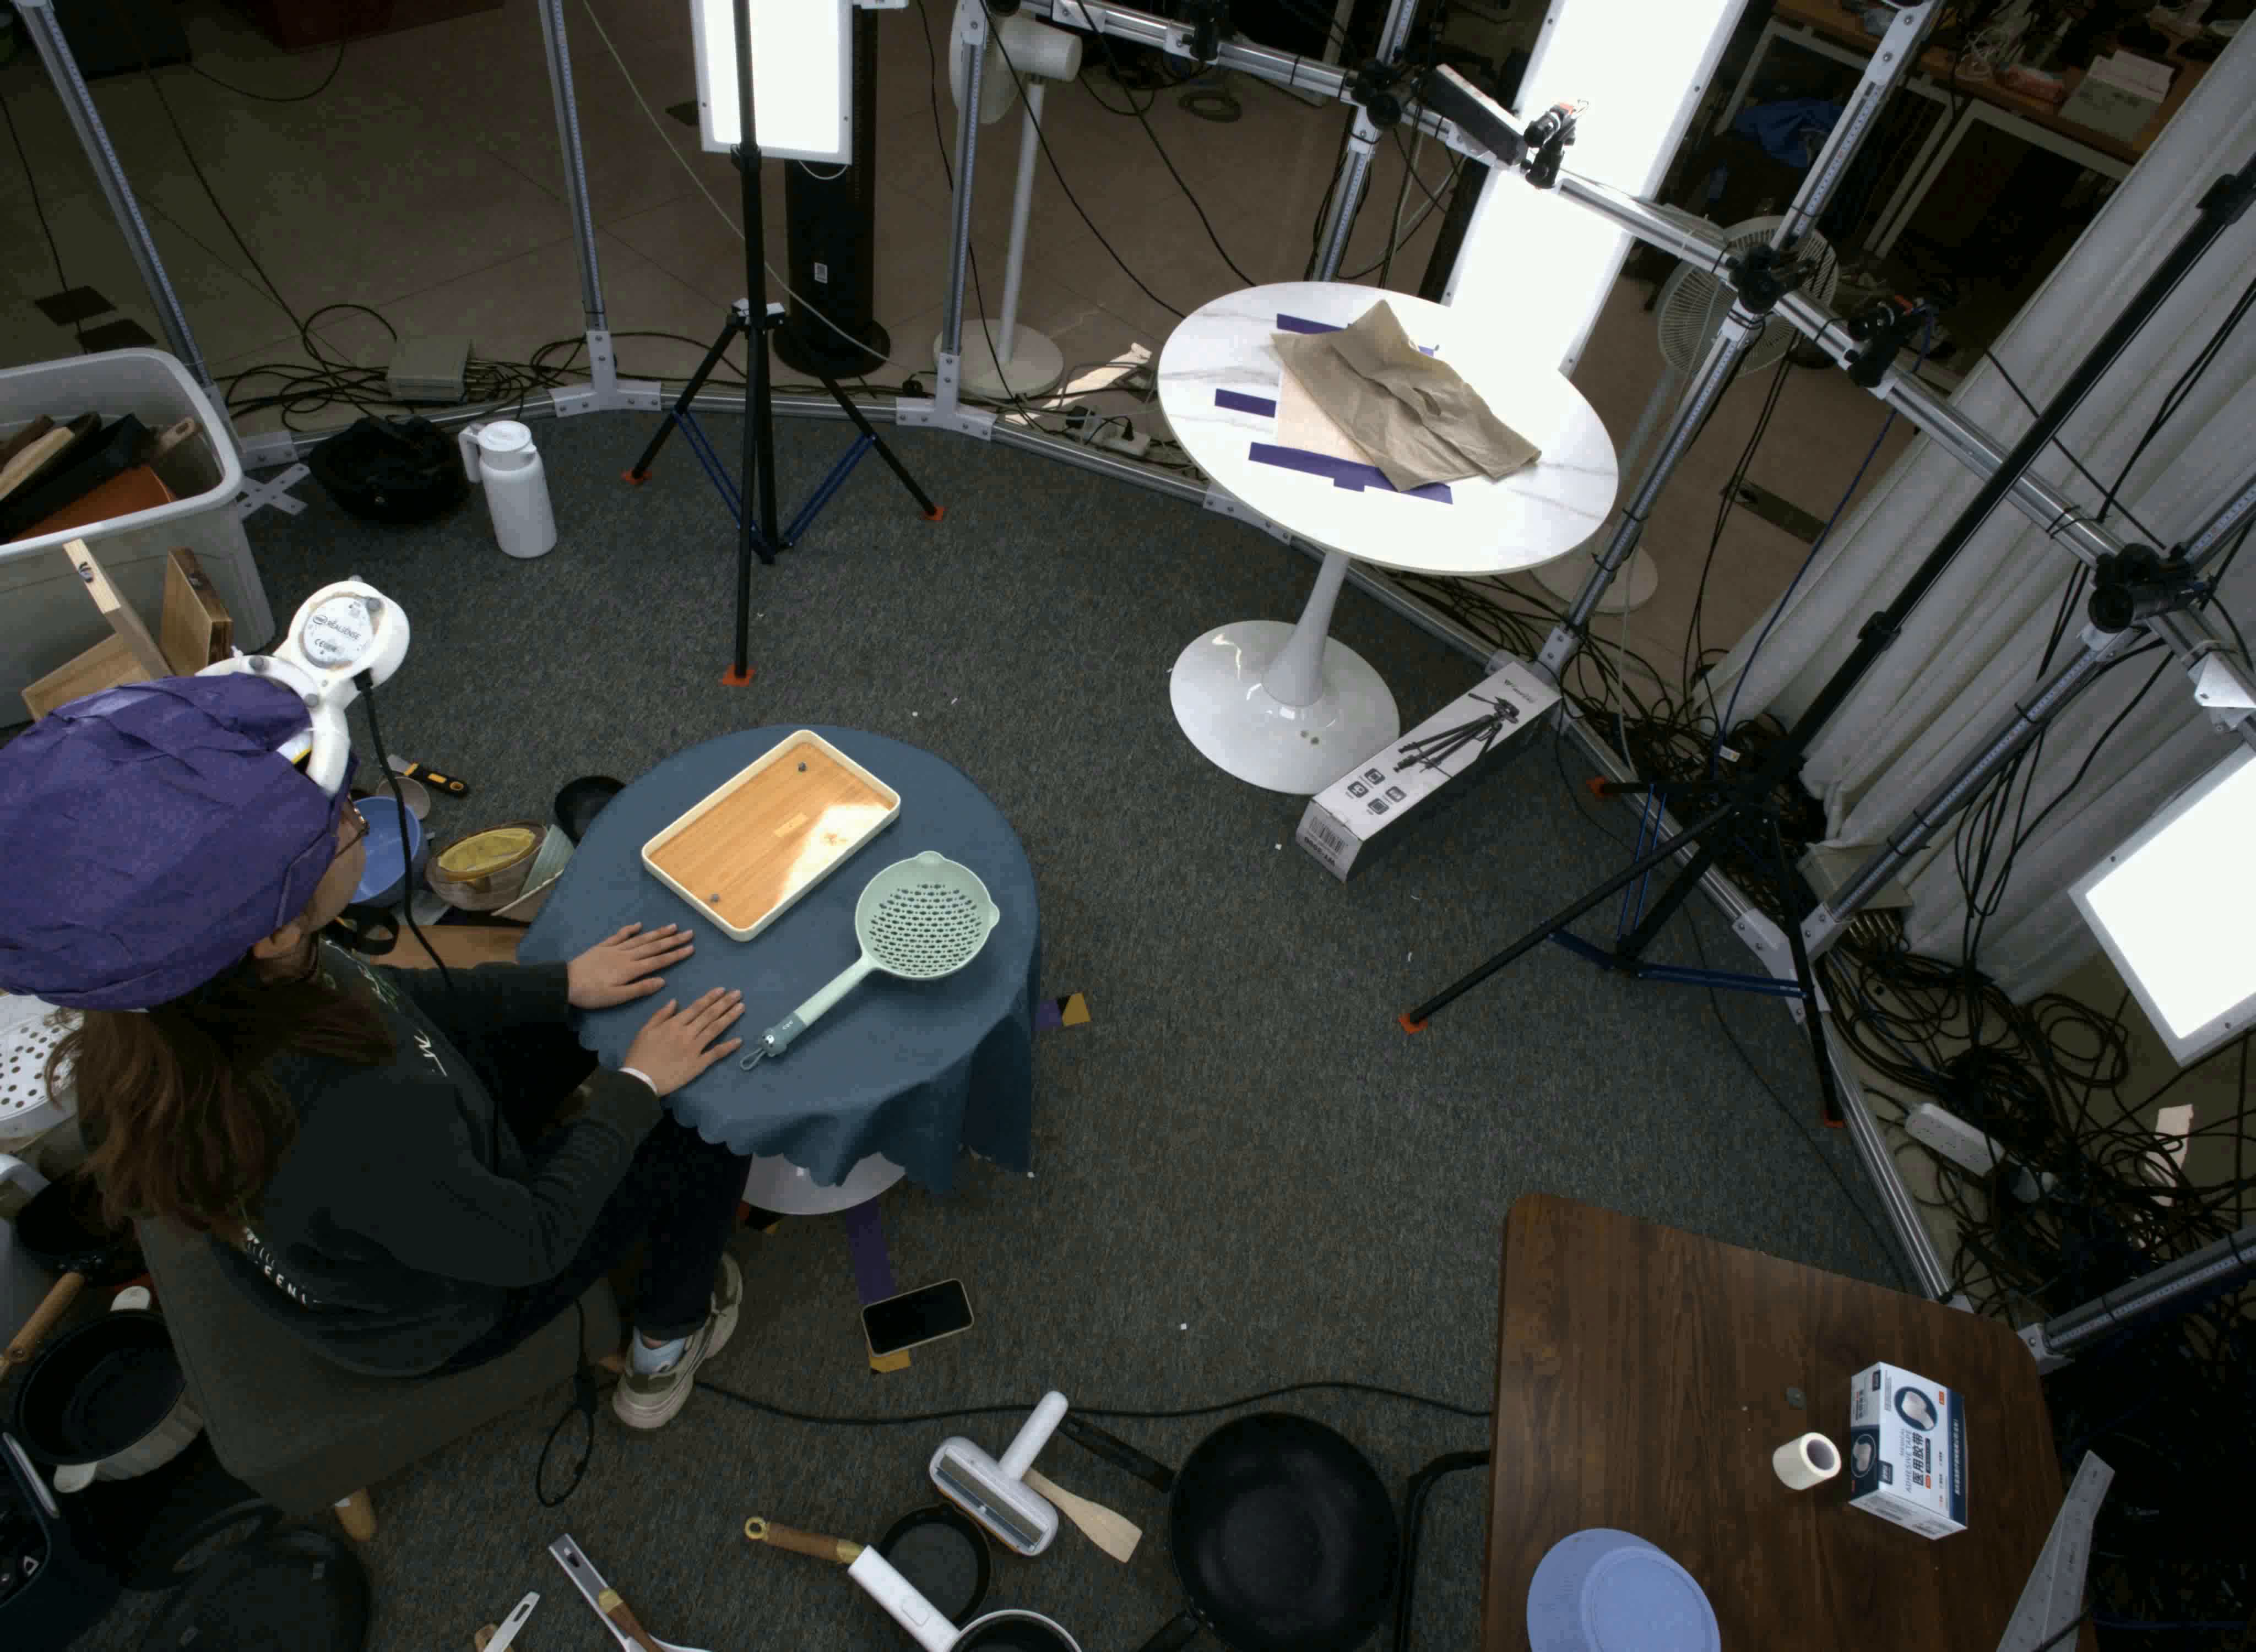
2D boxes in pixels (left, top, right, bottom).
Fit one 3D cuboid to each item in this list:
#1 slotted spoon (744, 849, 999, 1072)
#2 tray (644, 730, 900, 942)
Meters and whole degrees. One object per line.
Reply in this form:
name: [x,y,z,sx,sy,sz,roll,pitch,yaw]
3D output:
slotted spoon: [-0.321,0.171,1.586,0.165,0.077,0.359,41,55,18]
tray: [-0.463,0.004,1.699,0.188,0.028,0.300,36,53,13]
